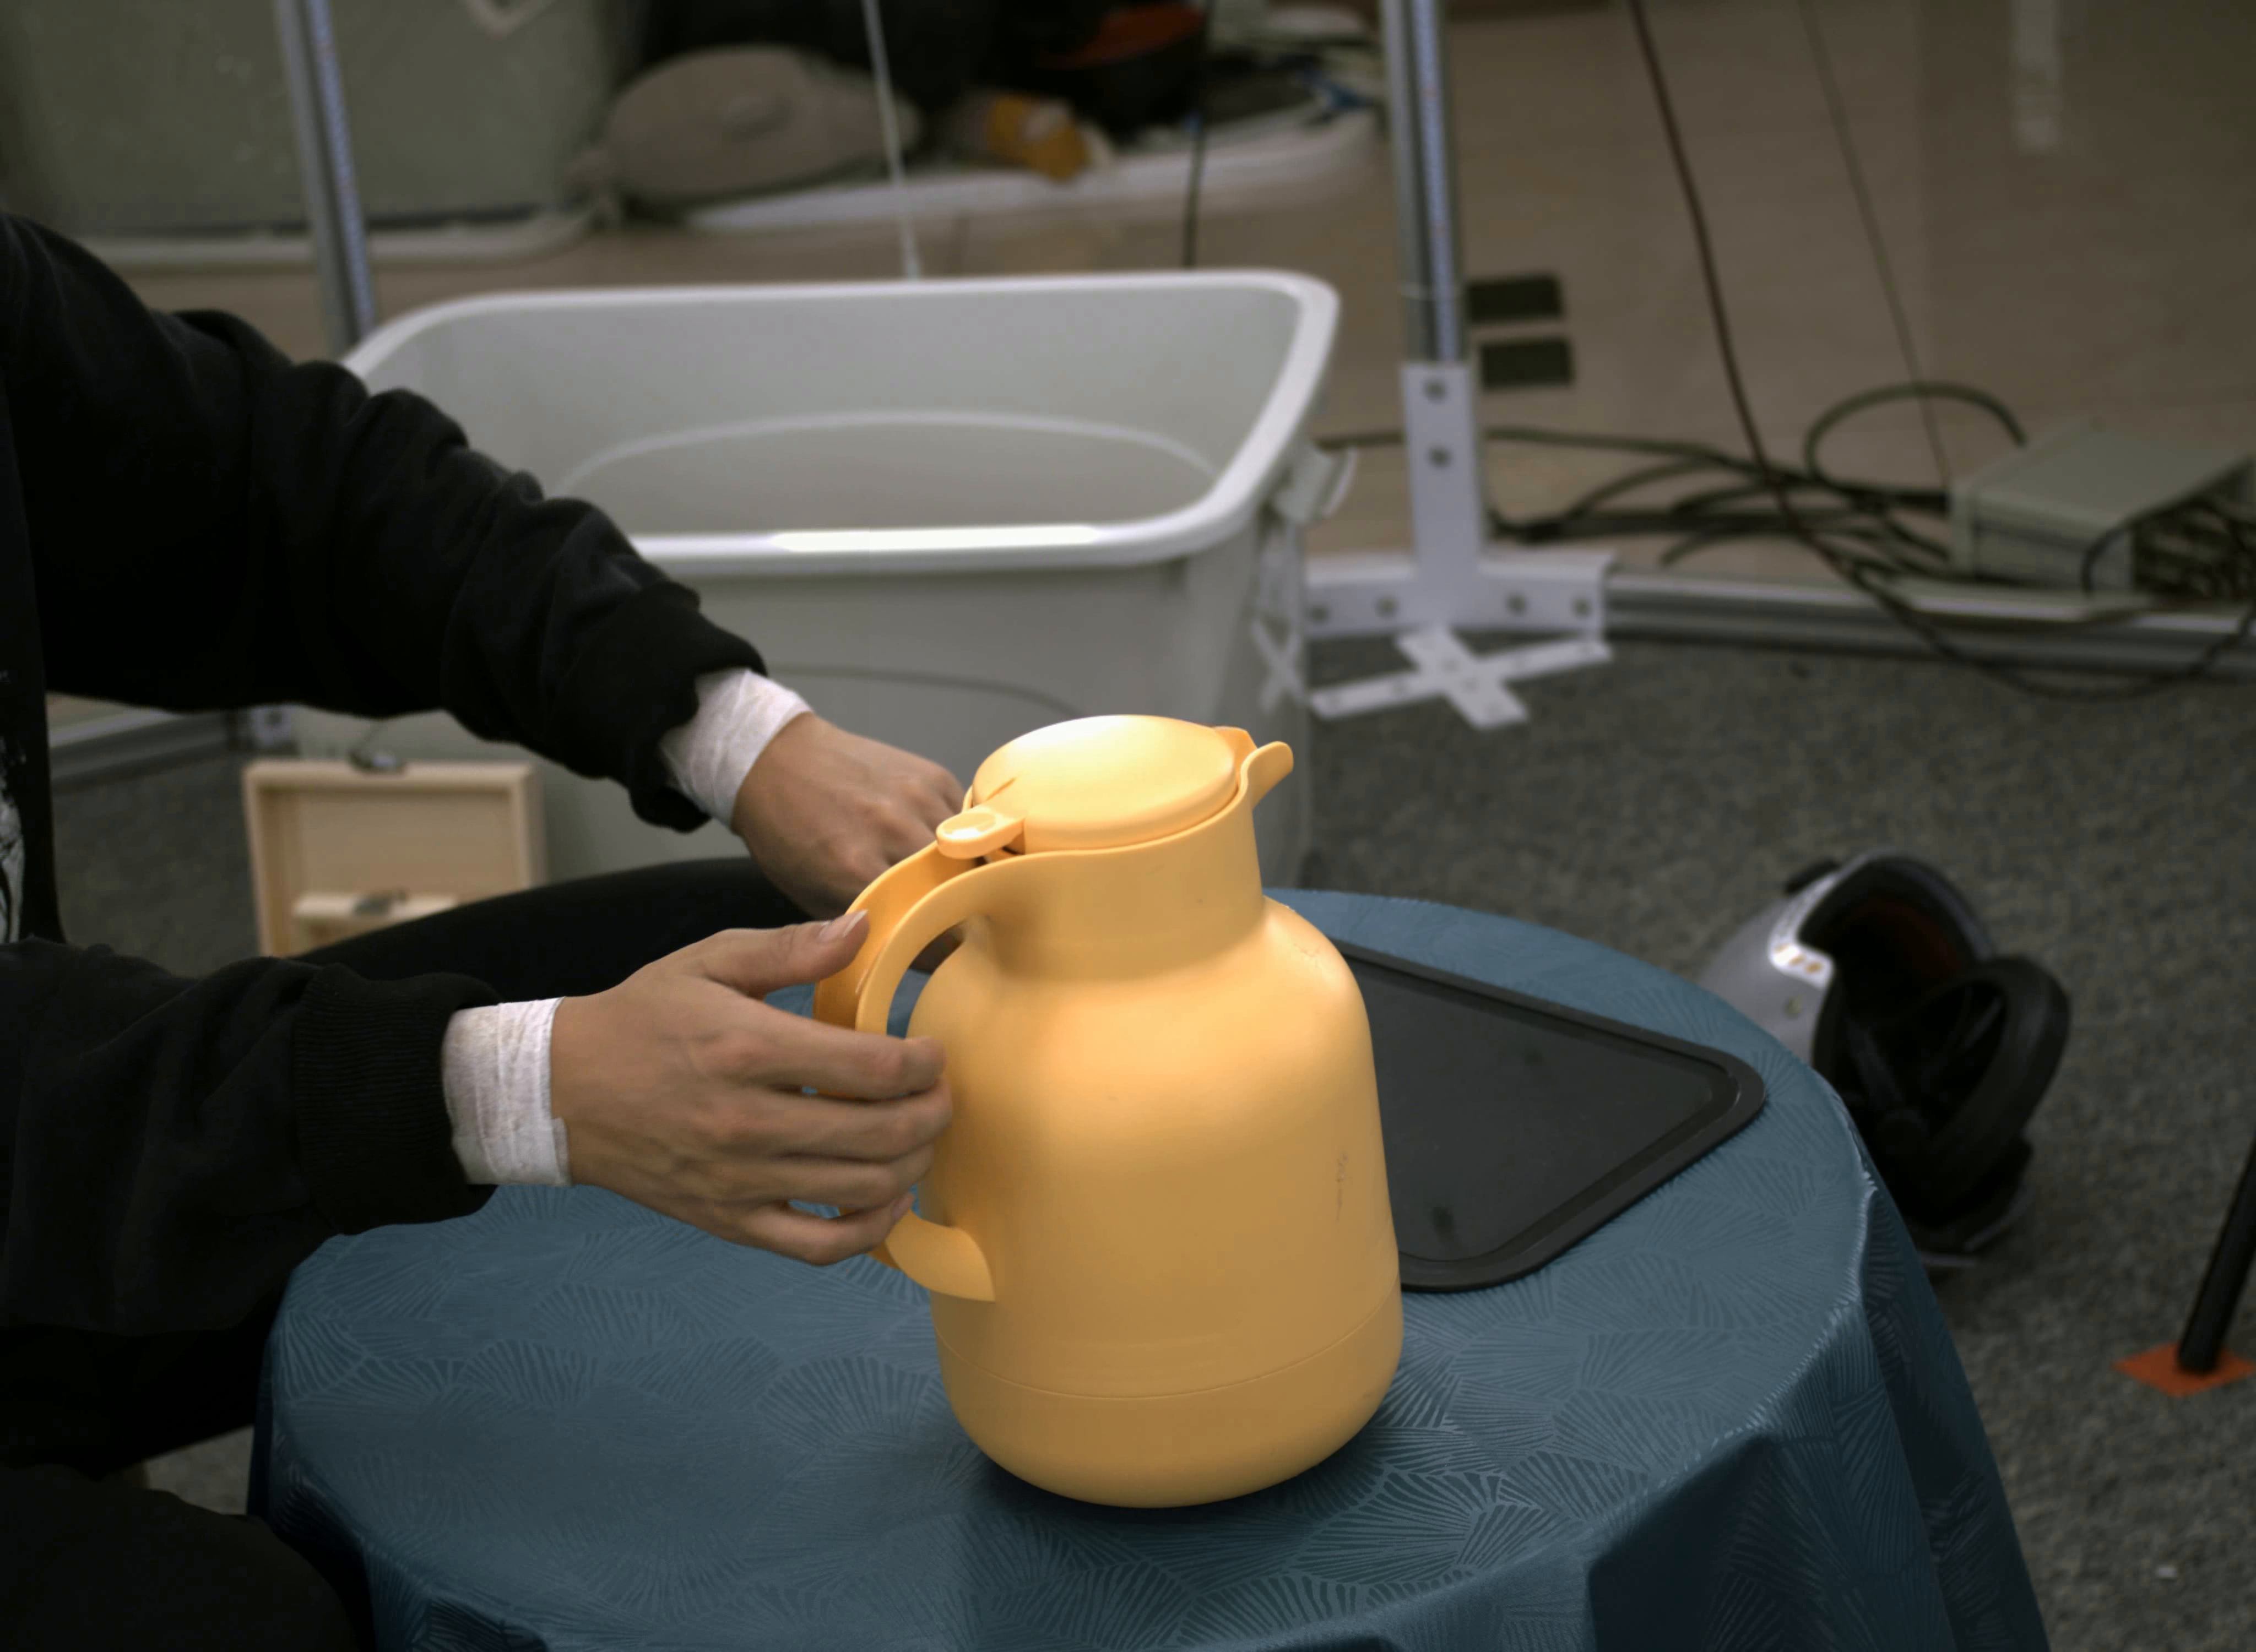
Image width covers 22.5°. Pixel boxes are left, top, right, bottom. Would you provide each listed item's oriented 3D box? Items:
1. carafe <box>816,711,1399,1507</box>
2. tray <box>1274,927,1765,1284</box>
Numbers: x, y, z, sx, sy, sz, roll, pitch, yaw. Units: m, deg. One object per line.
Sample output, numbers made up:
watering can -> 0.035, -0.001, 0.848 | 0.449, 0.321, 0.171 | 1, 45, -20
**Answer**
carafe -> -0.012, 0.097, 1.927 | 0.201, 0.264, 0.162 | -21, 27, -30
tray -> 0.072, 0.101, 2.205 | 0.323, 0.010, 0.209 | 16, 33, 40
